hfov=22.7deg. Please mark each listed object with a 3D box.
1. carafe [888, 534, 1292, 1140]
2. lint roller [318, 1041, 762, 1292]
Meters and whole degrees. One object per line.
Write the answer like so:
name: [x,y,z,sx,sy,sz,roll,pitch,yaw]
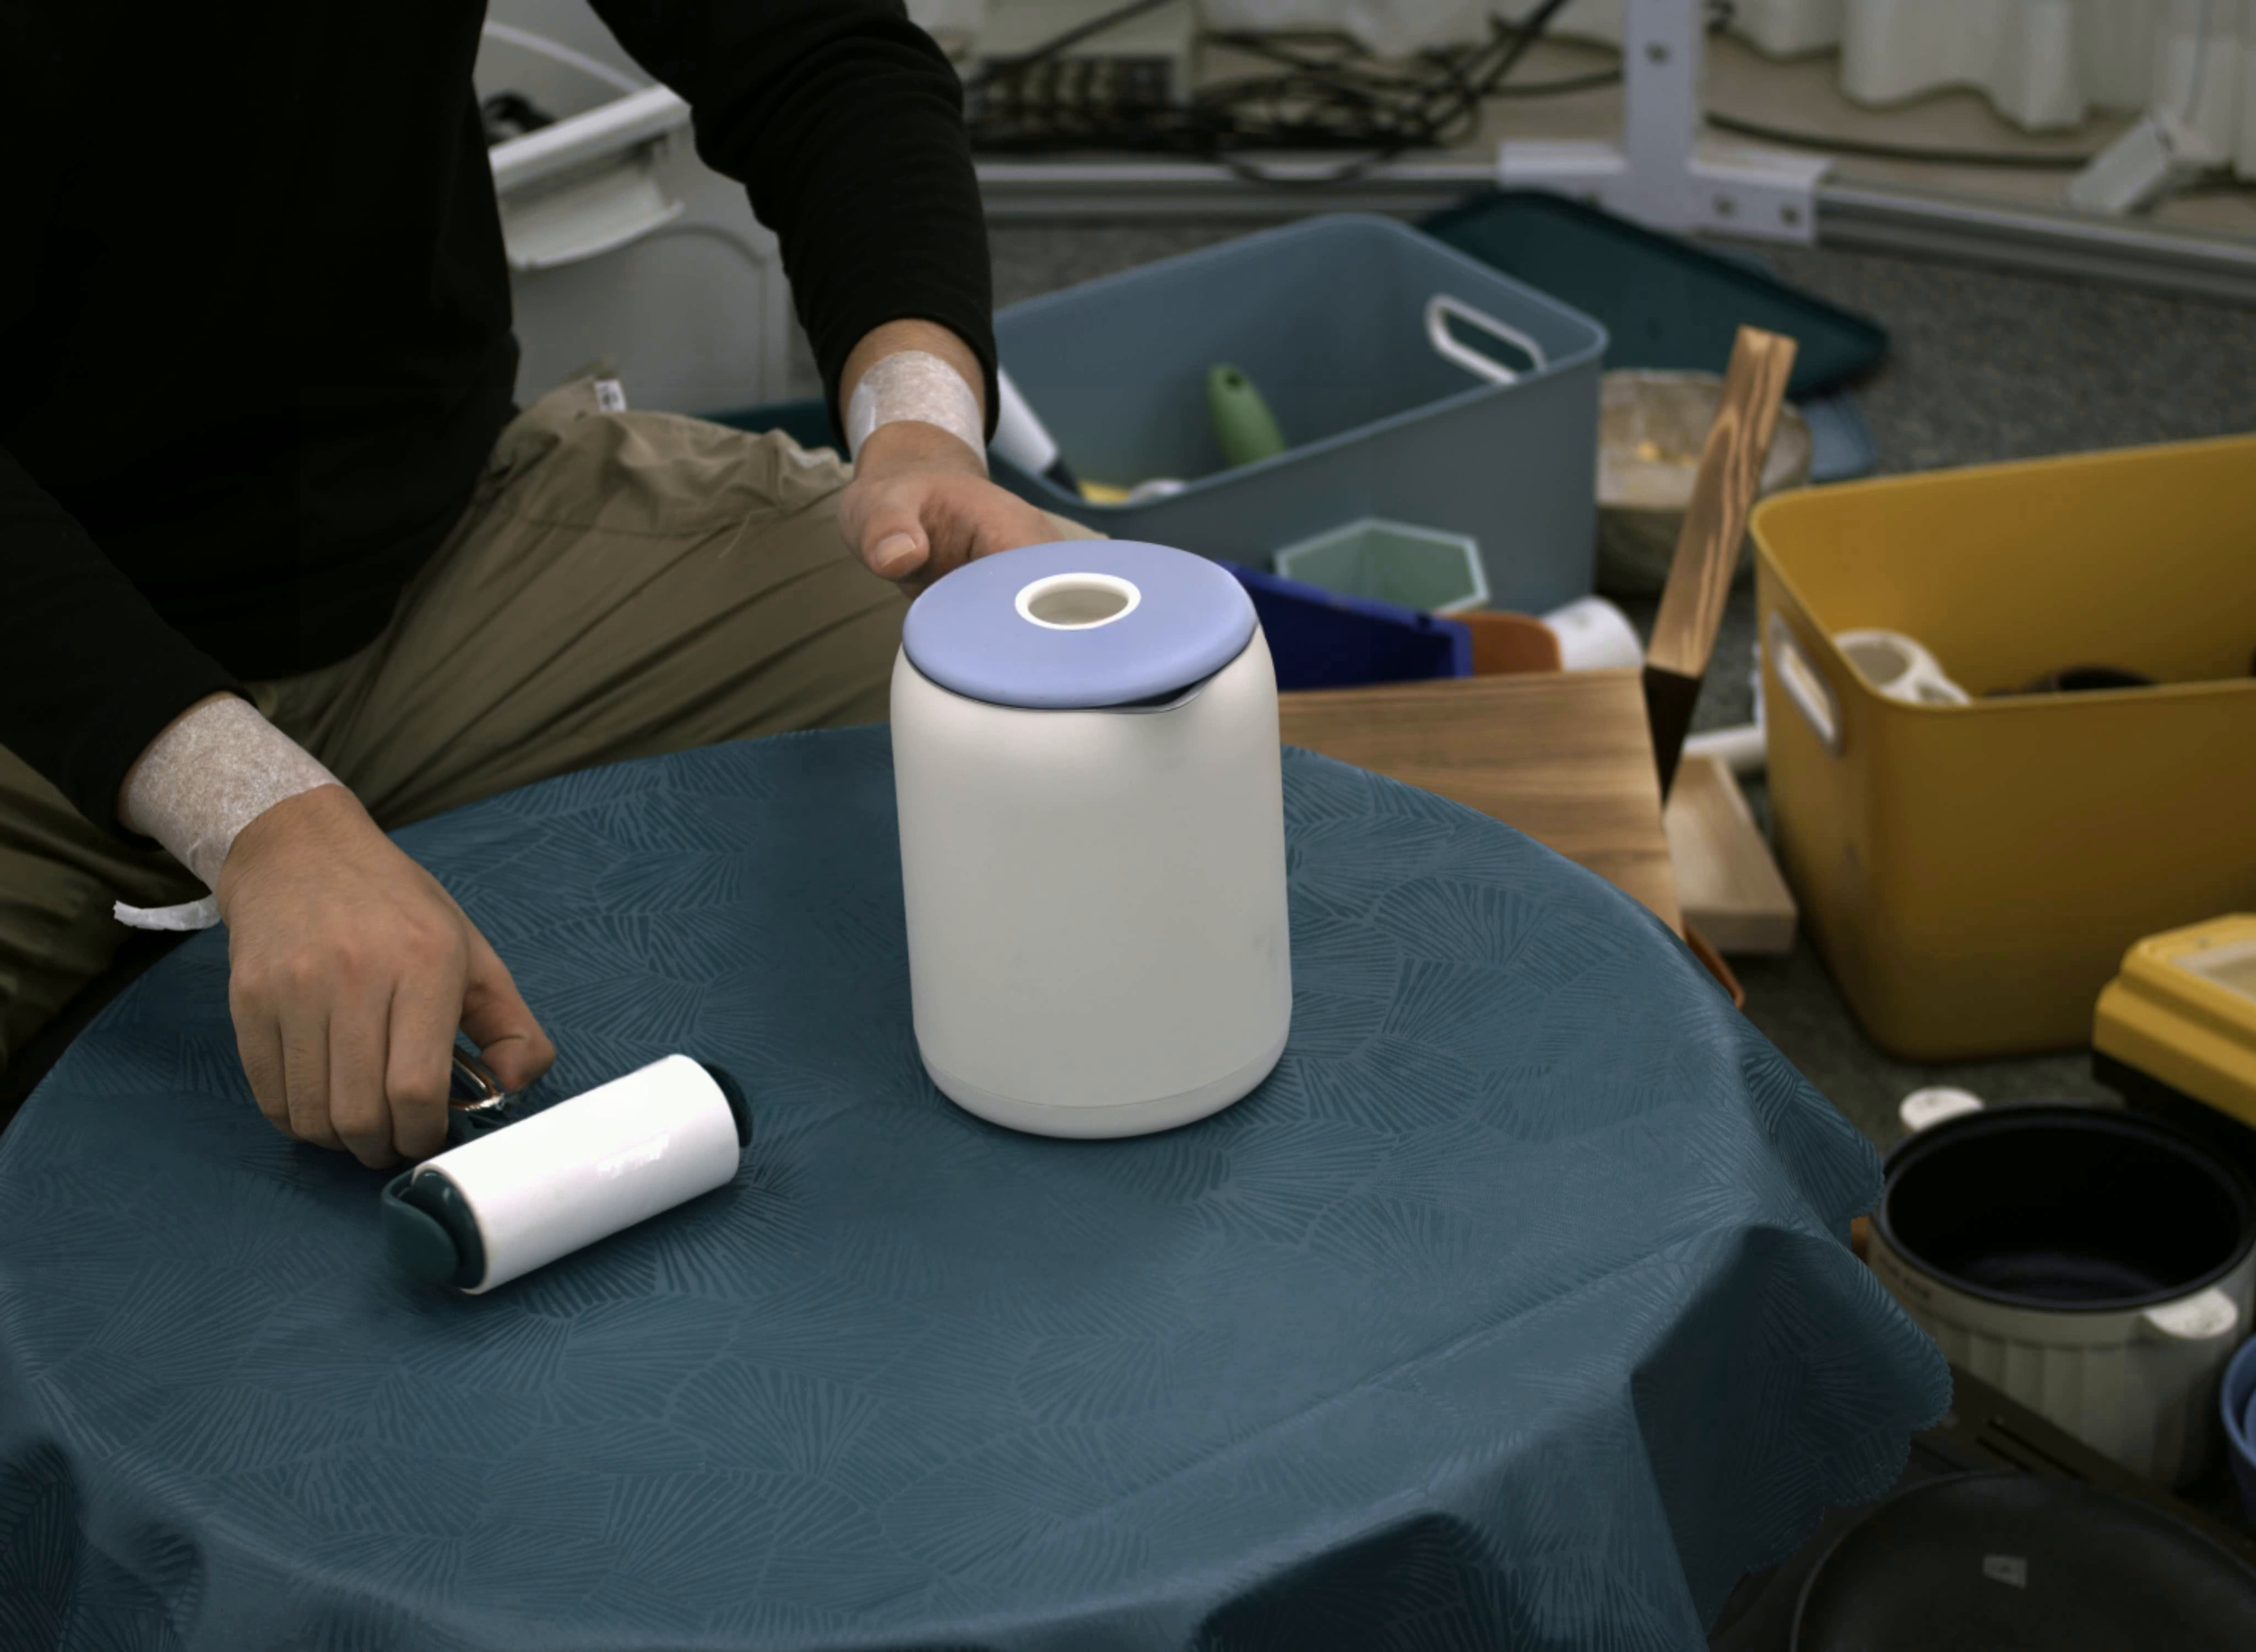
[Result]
carafe: [-0.024,-0.006,1.926,0.133,0.181,0.192,-15,27,-24]
lint roller: [-0.223,0.091,1.889,0.135,0.048,0.180,-22,32,-31]
